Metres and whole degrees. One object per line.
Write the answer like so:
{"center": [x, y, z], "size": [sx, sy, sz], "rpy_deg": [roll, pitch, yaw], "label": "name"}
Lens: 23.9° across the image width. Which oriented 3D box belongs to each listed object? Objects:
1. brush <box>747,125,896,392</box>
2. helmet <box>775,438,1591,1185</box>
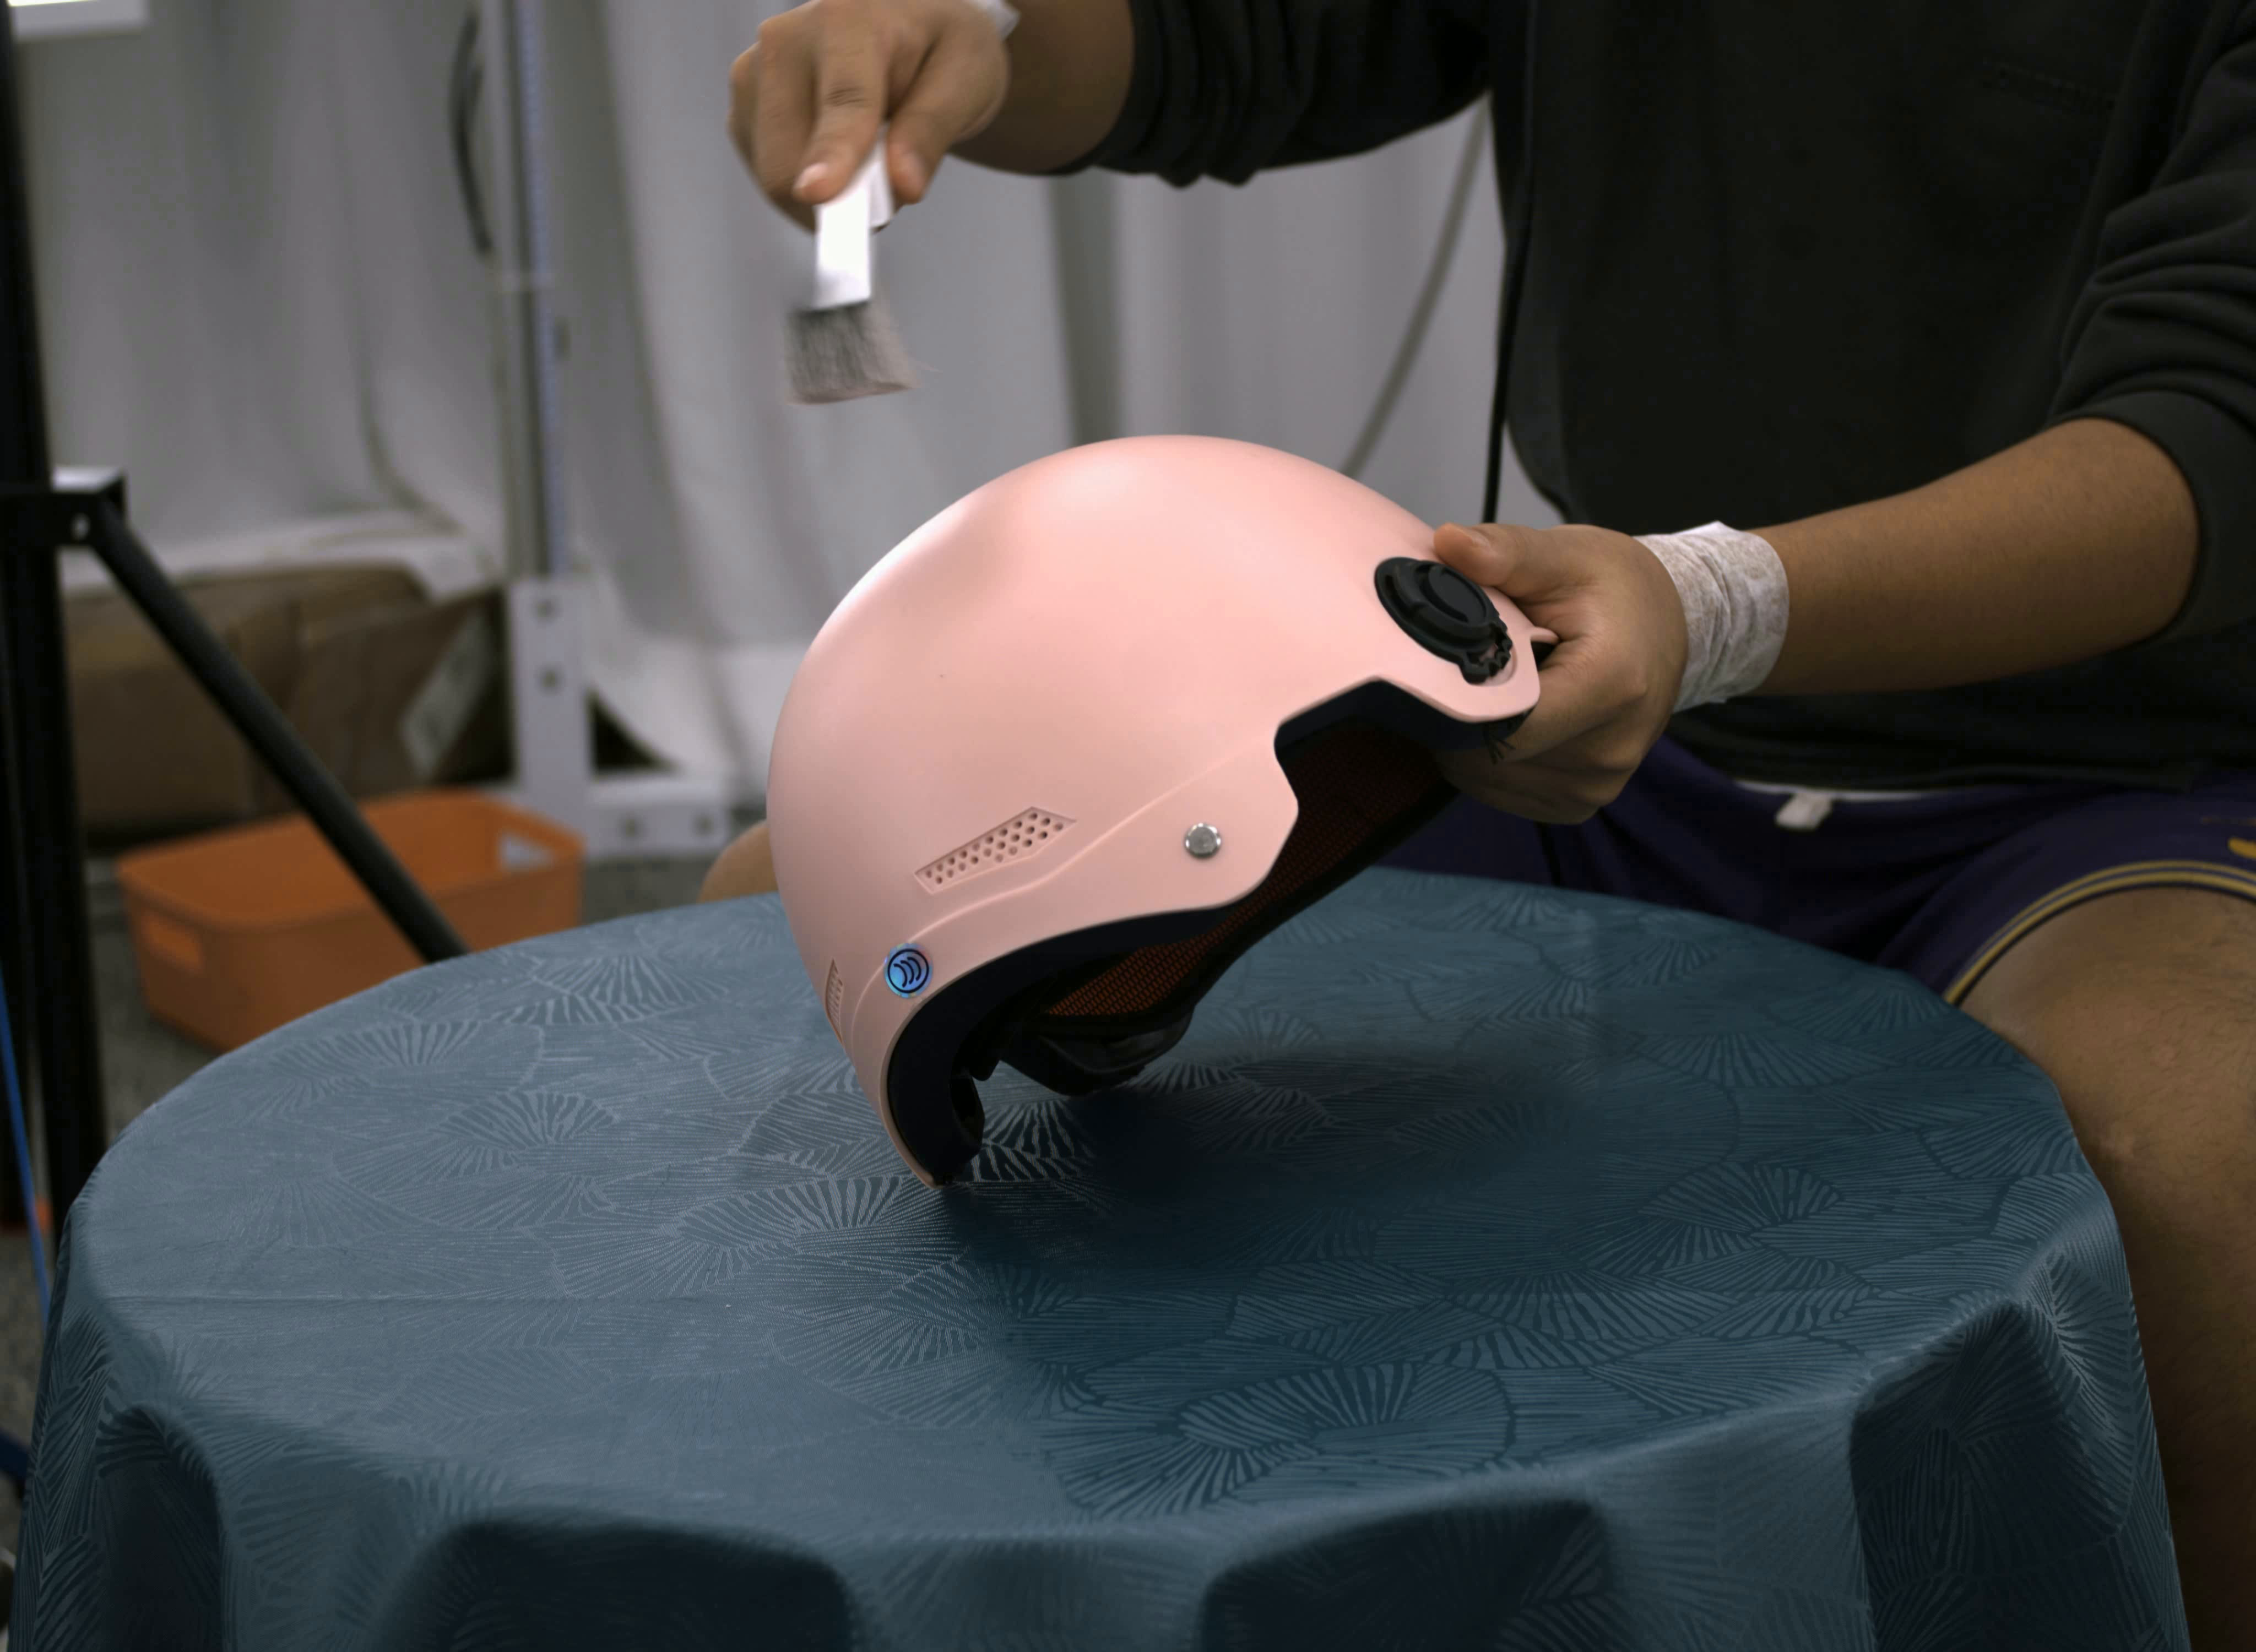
{"center": [-0.086, -0.168, 1.592], "size": [0.034, 0.050, 0.244], "rpy_deg": [-12, 16, 3], "label": "brush"}
{"center": [0.001, -0.027, 1.580], "size": [0.260, 0.160, 0.236], "rpy_deg": [-23, -16, -44], "label": "helmet"}
